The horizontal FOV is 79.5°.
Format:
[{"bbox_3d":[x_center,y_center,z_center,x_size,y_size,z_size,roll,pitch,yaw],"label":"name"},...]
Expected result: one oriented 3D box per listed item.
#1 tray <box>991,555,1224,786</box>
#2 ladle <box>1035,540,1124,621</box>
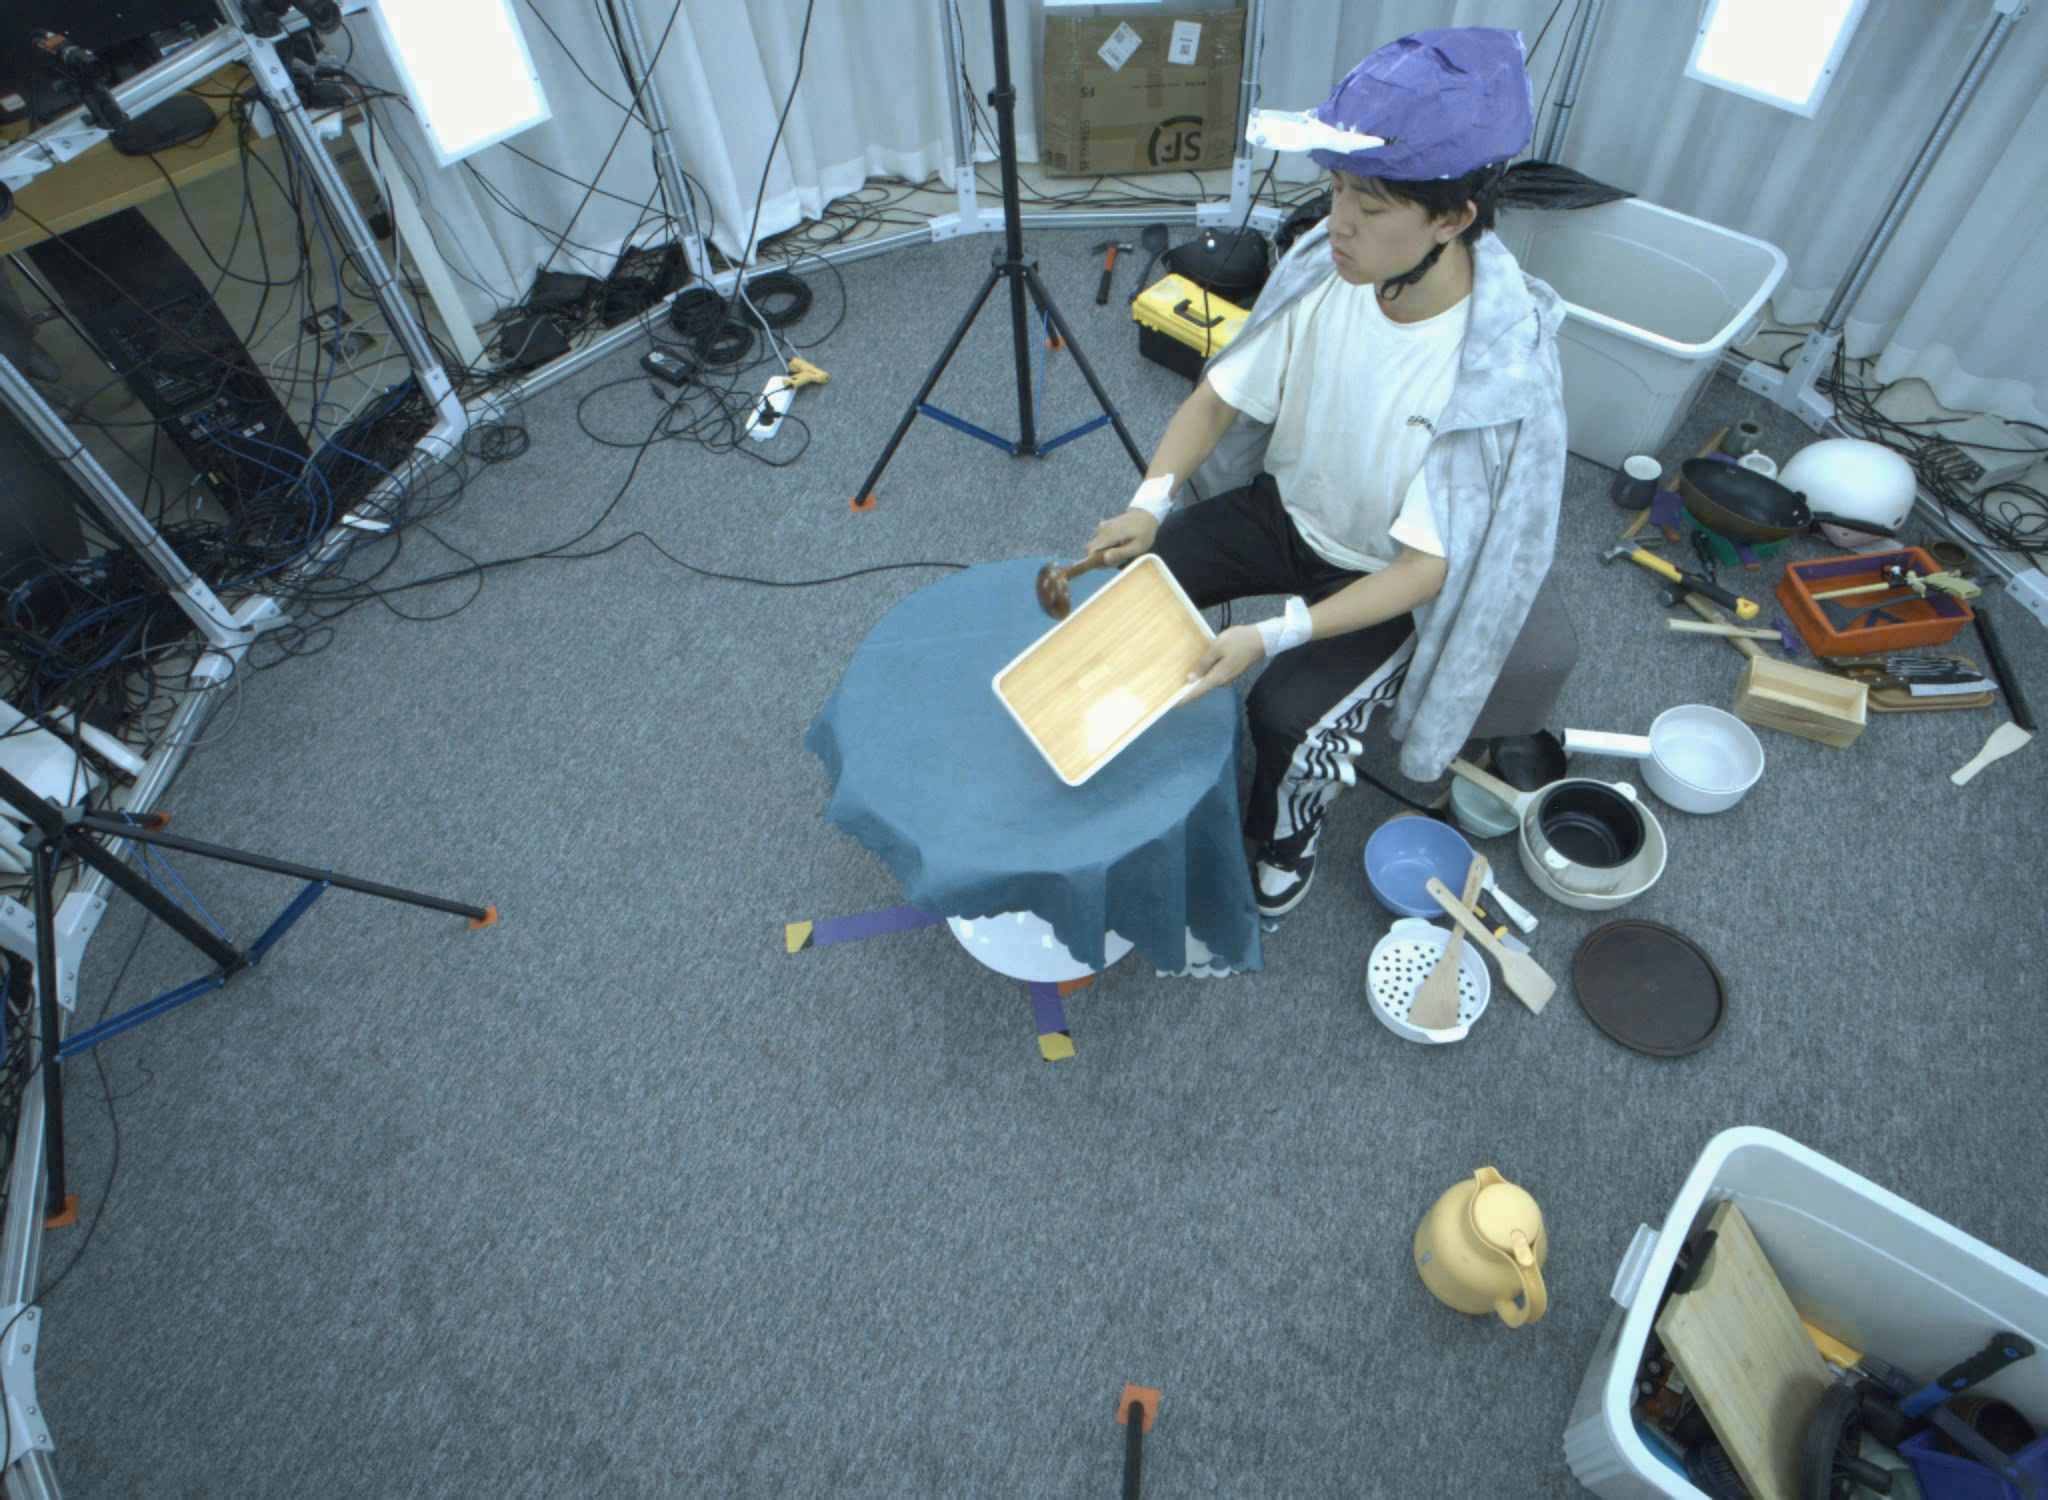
[{"bbox_3d":[0.119,-0.111,1.705,0.301,0.027,0.193,-40,105,-11],"label":"tray"},{"bbox_3d":[0.098,-0.255,1.743,0.075,0.082,0.277,17,31,29],"label":"ladle"}]
